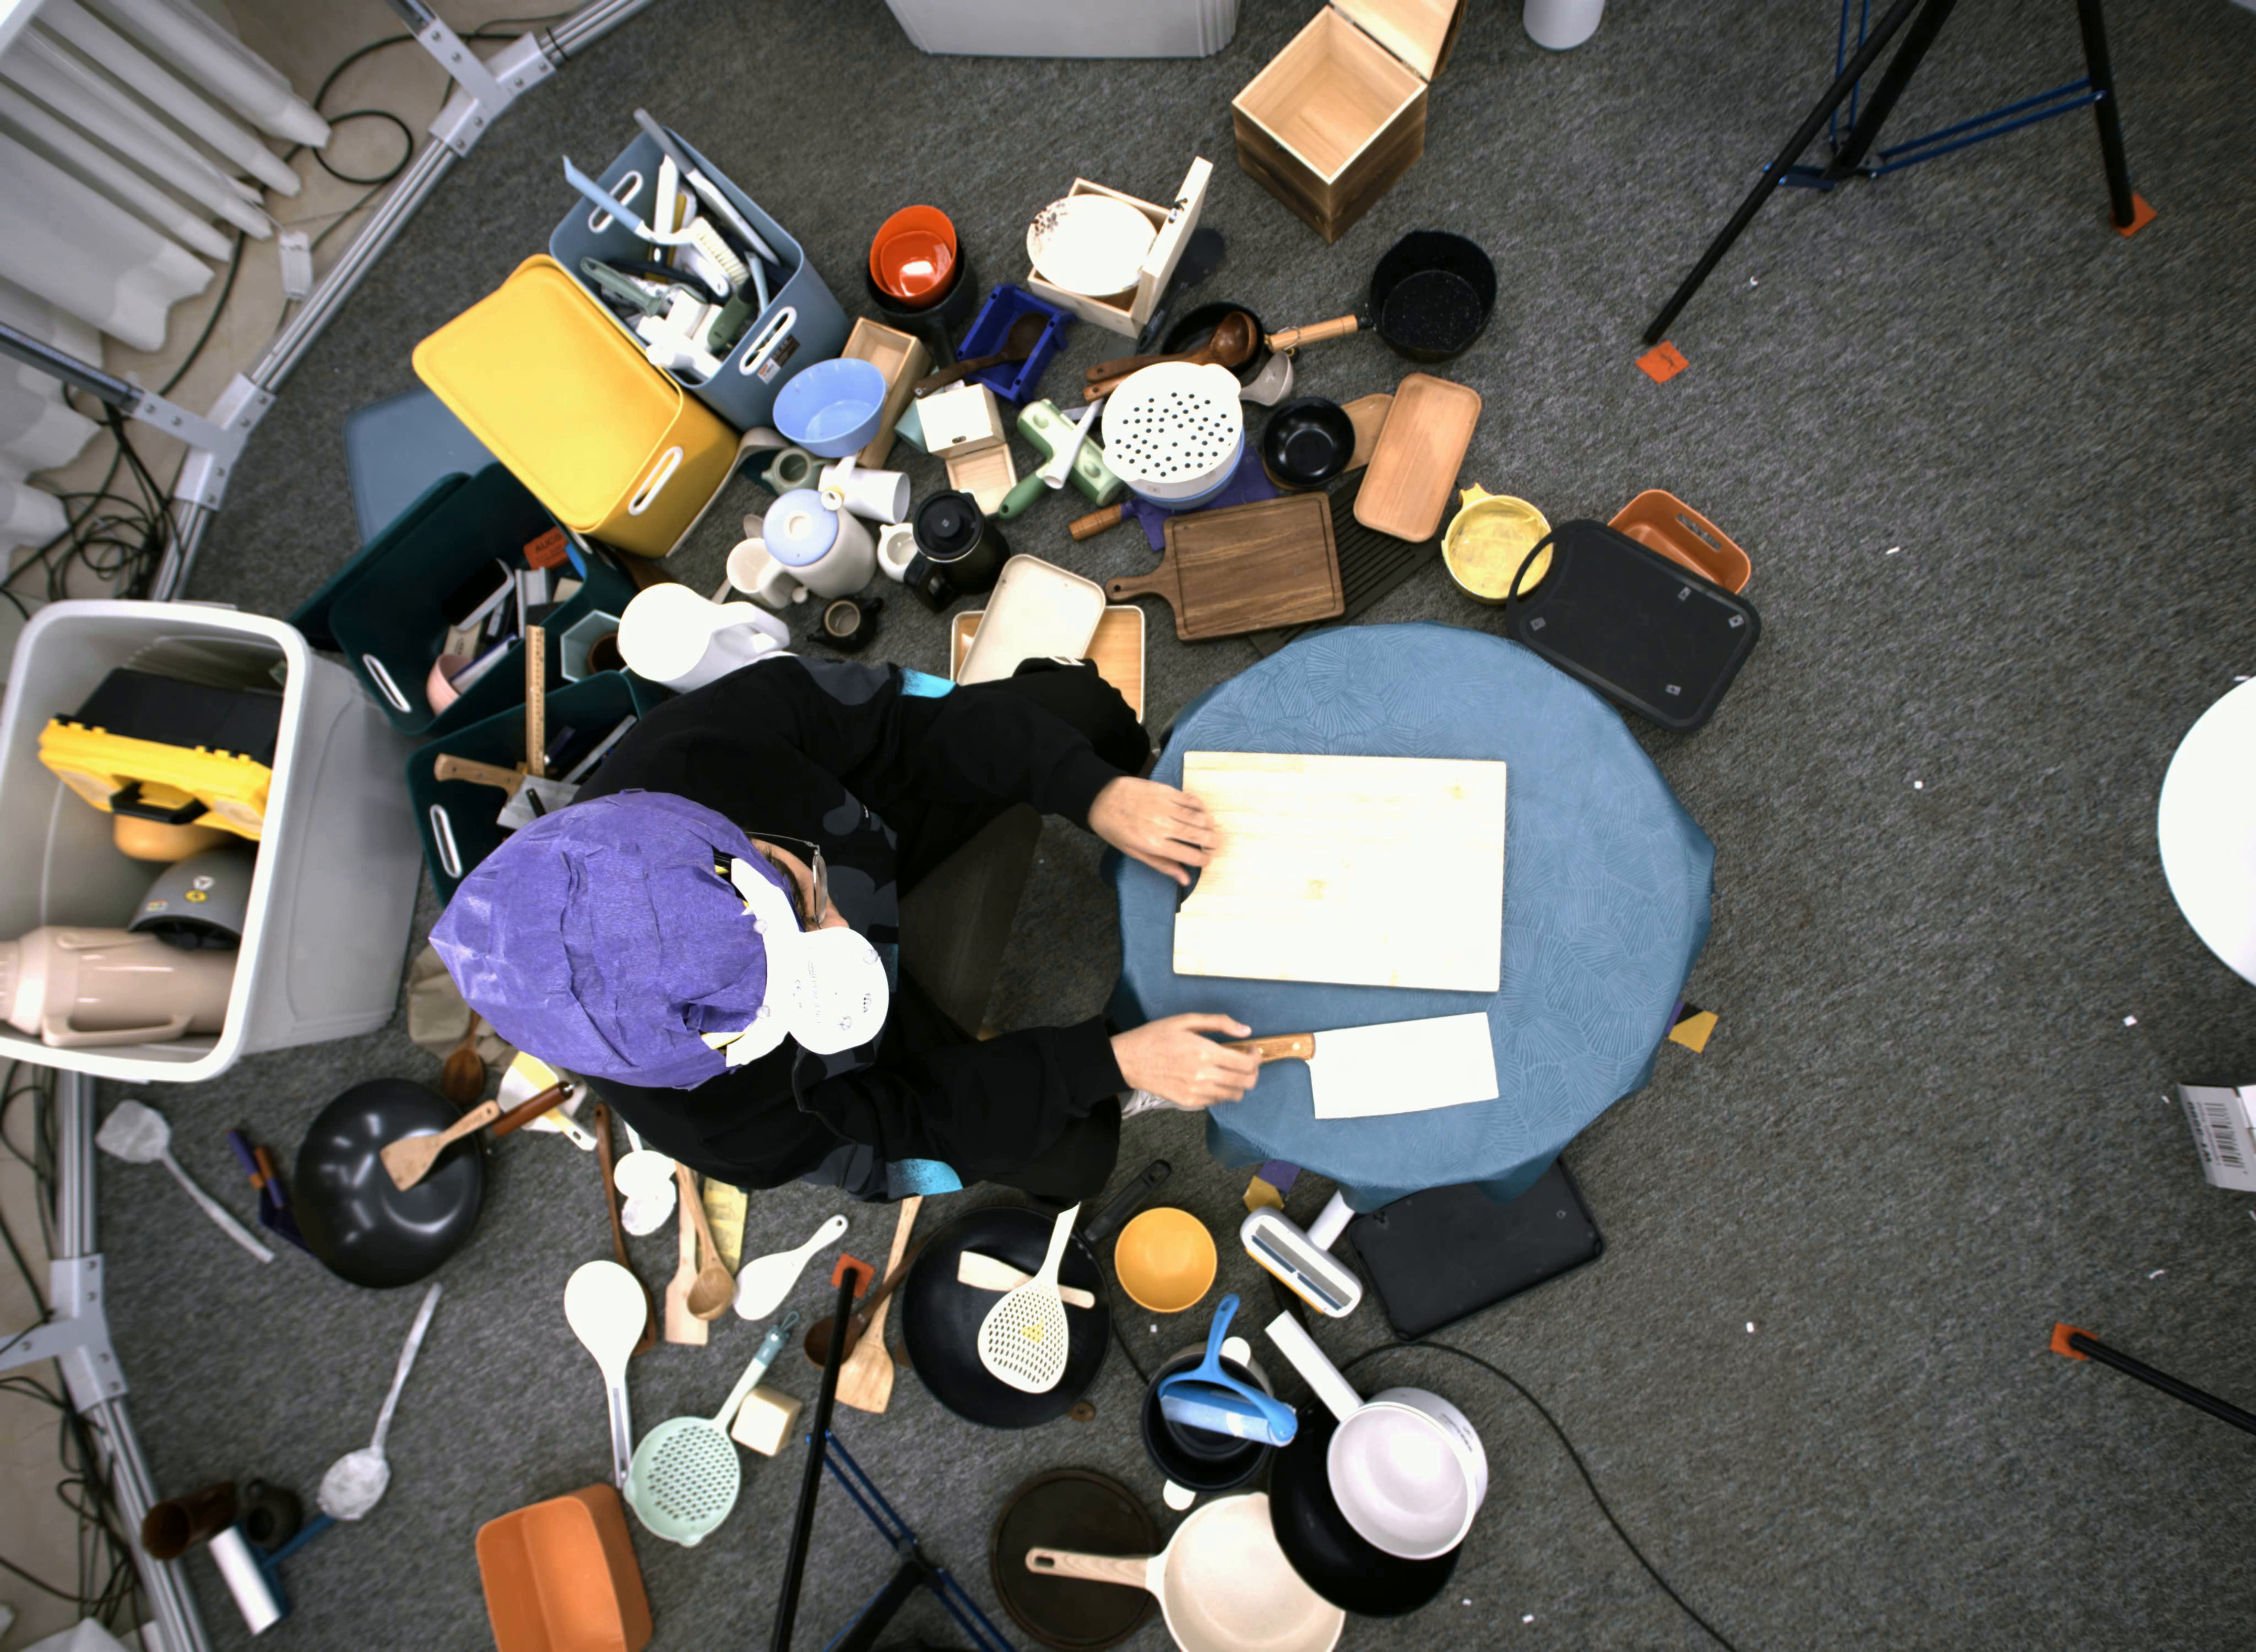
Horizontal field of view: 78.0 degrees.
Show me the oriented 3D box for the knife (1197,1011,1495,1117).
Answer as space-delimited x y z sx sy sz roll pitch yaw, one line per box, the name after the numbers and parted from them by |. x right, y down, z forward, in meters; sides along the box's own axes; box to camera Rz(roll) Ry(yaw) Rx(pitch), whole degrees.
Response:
0.228 0.254 1.450 0.307 0.021 0.092 -8 87 8 | knife

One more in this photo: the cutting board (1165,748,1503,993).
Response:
0.217 0.043 1.463 0.350 0.023 0.249 1 87 10 | cutting board
